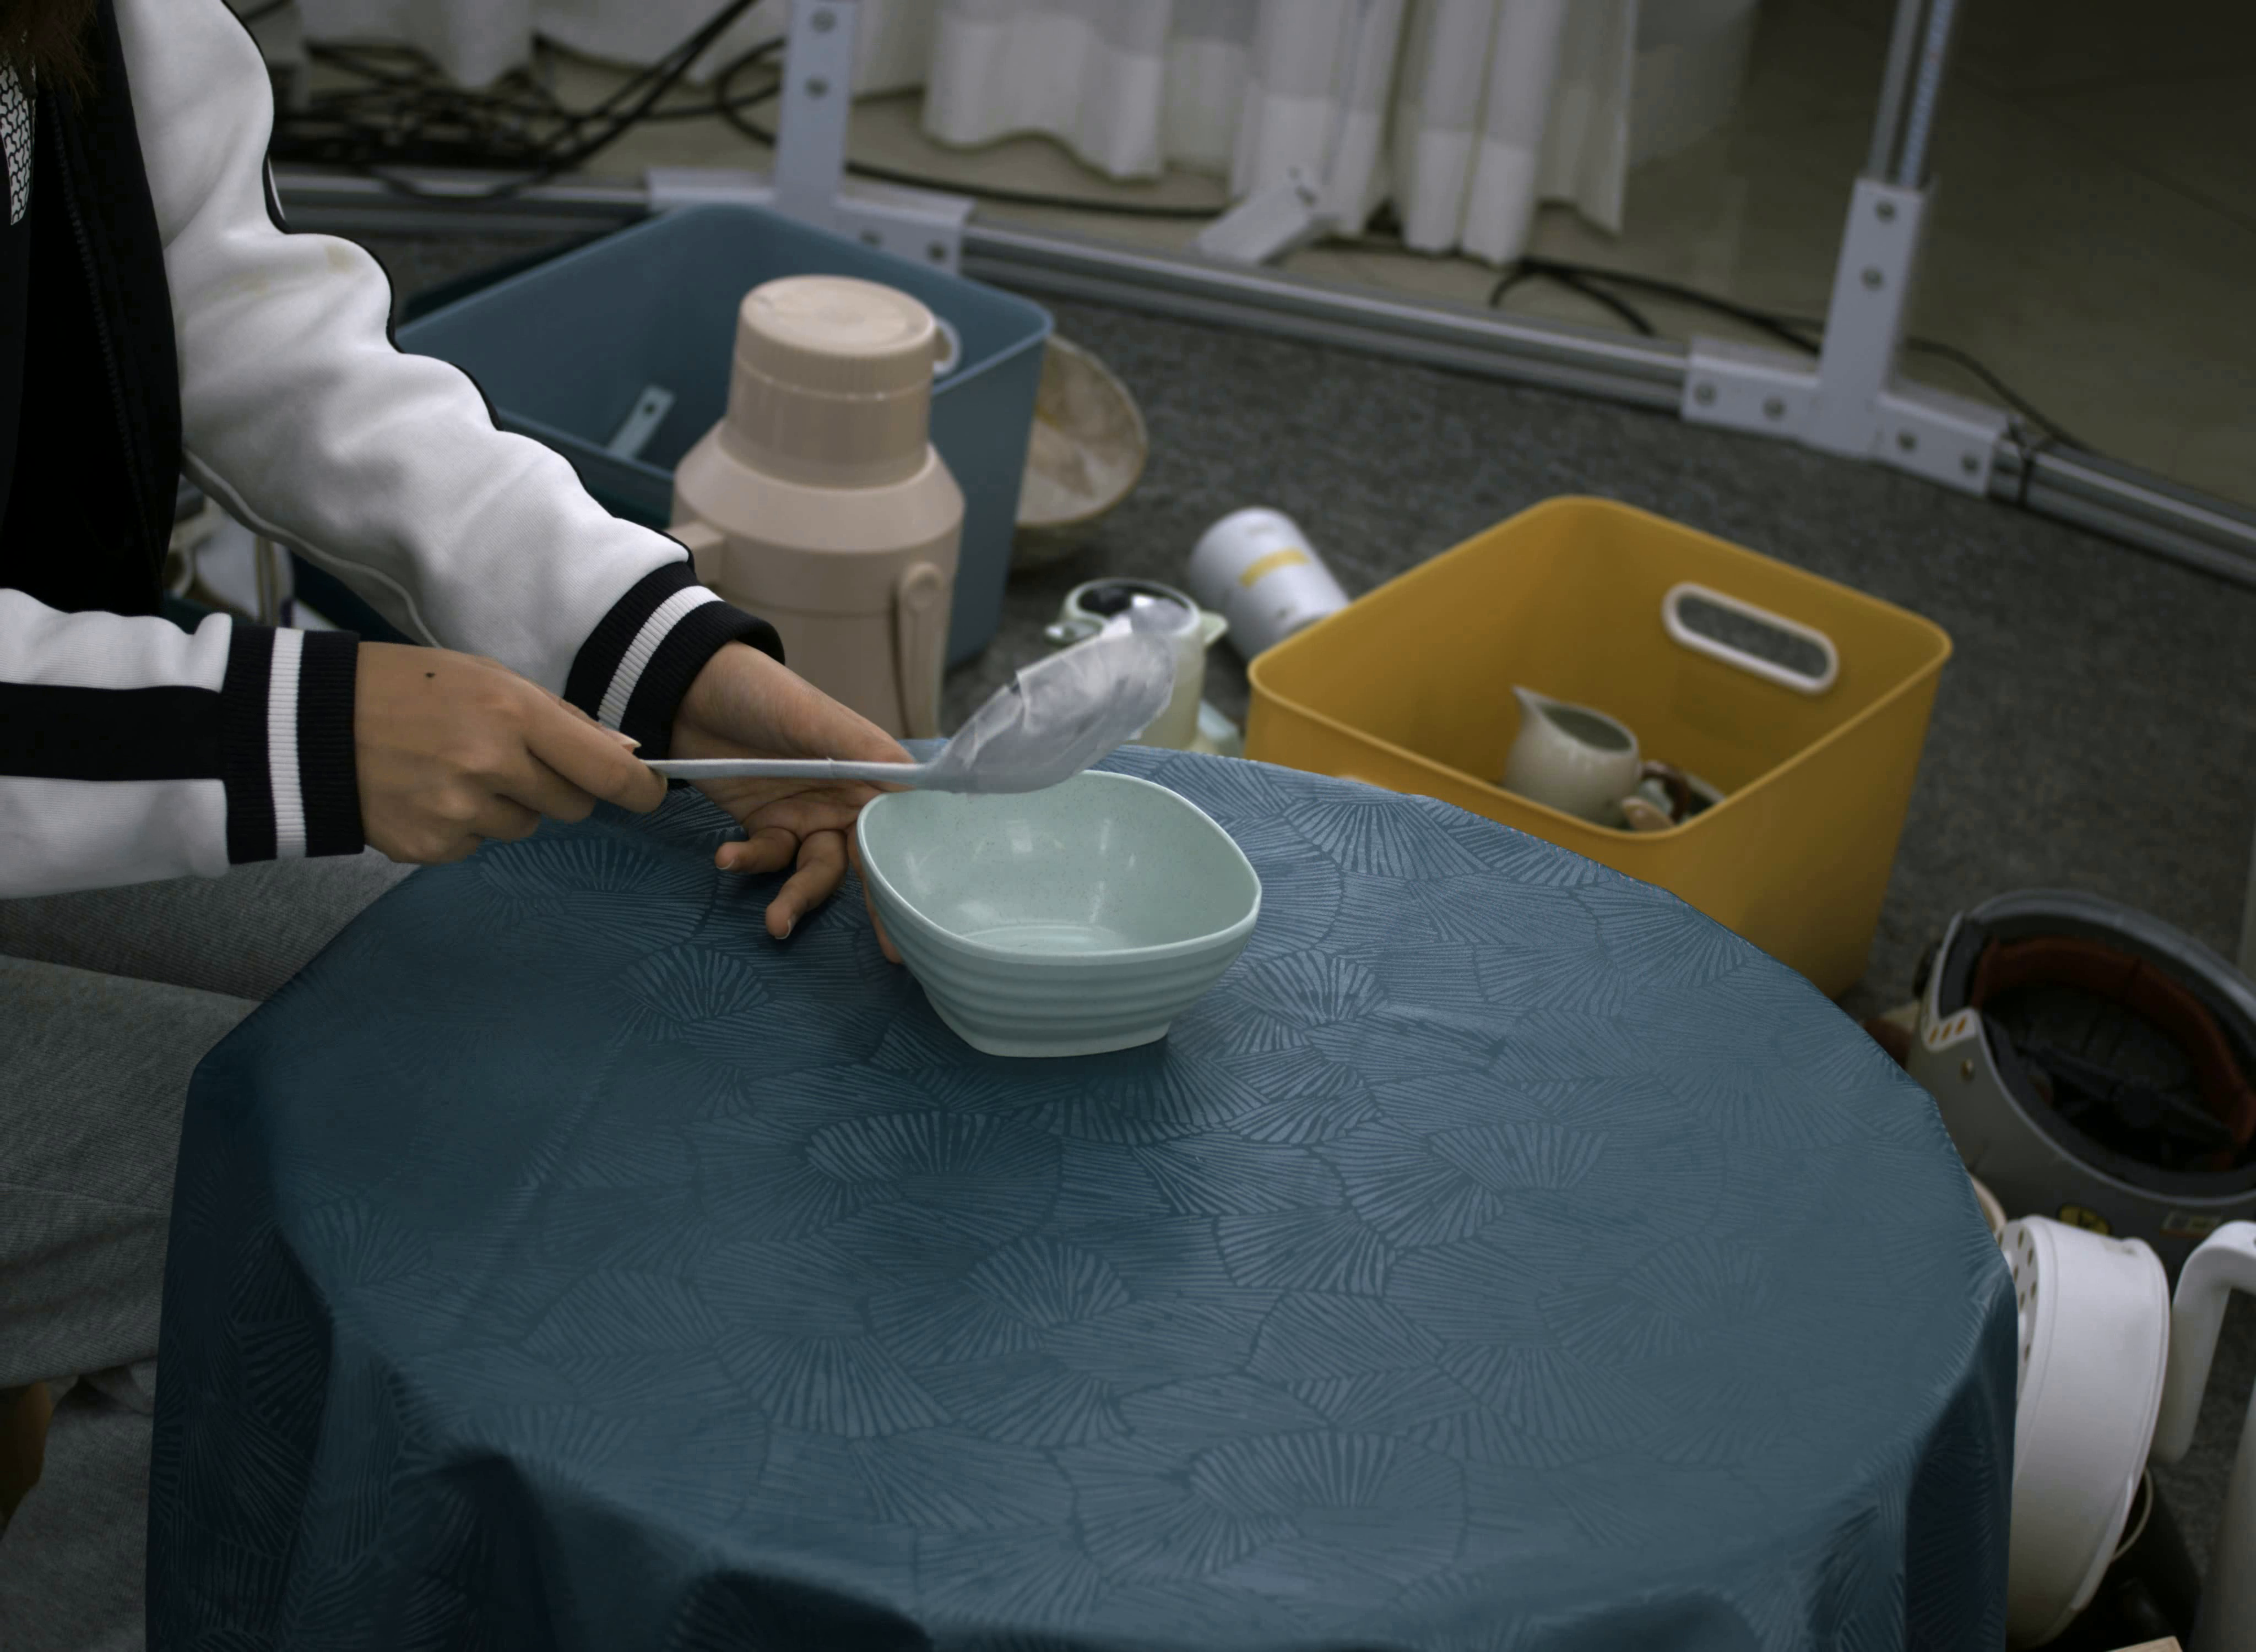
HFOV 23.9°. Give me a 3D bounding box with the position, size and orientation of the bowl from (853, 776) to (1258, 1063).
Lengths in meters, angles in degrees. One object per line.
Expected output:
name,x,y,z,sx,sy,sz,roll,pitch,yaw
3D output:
bowl,-0.029,0.039,1.904,0.151,0.058,0.152,5,27,-3

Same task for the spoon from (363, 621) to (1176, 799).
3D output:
spoon,-0.122,-0.040,1.814,0.277,0.100,0.060,2,70,8
